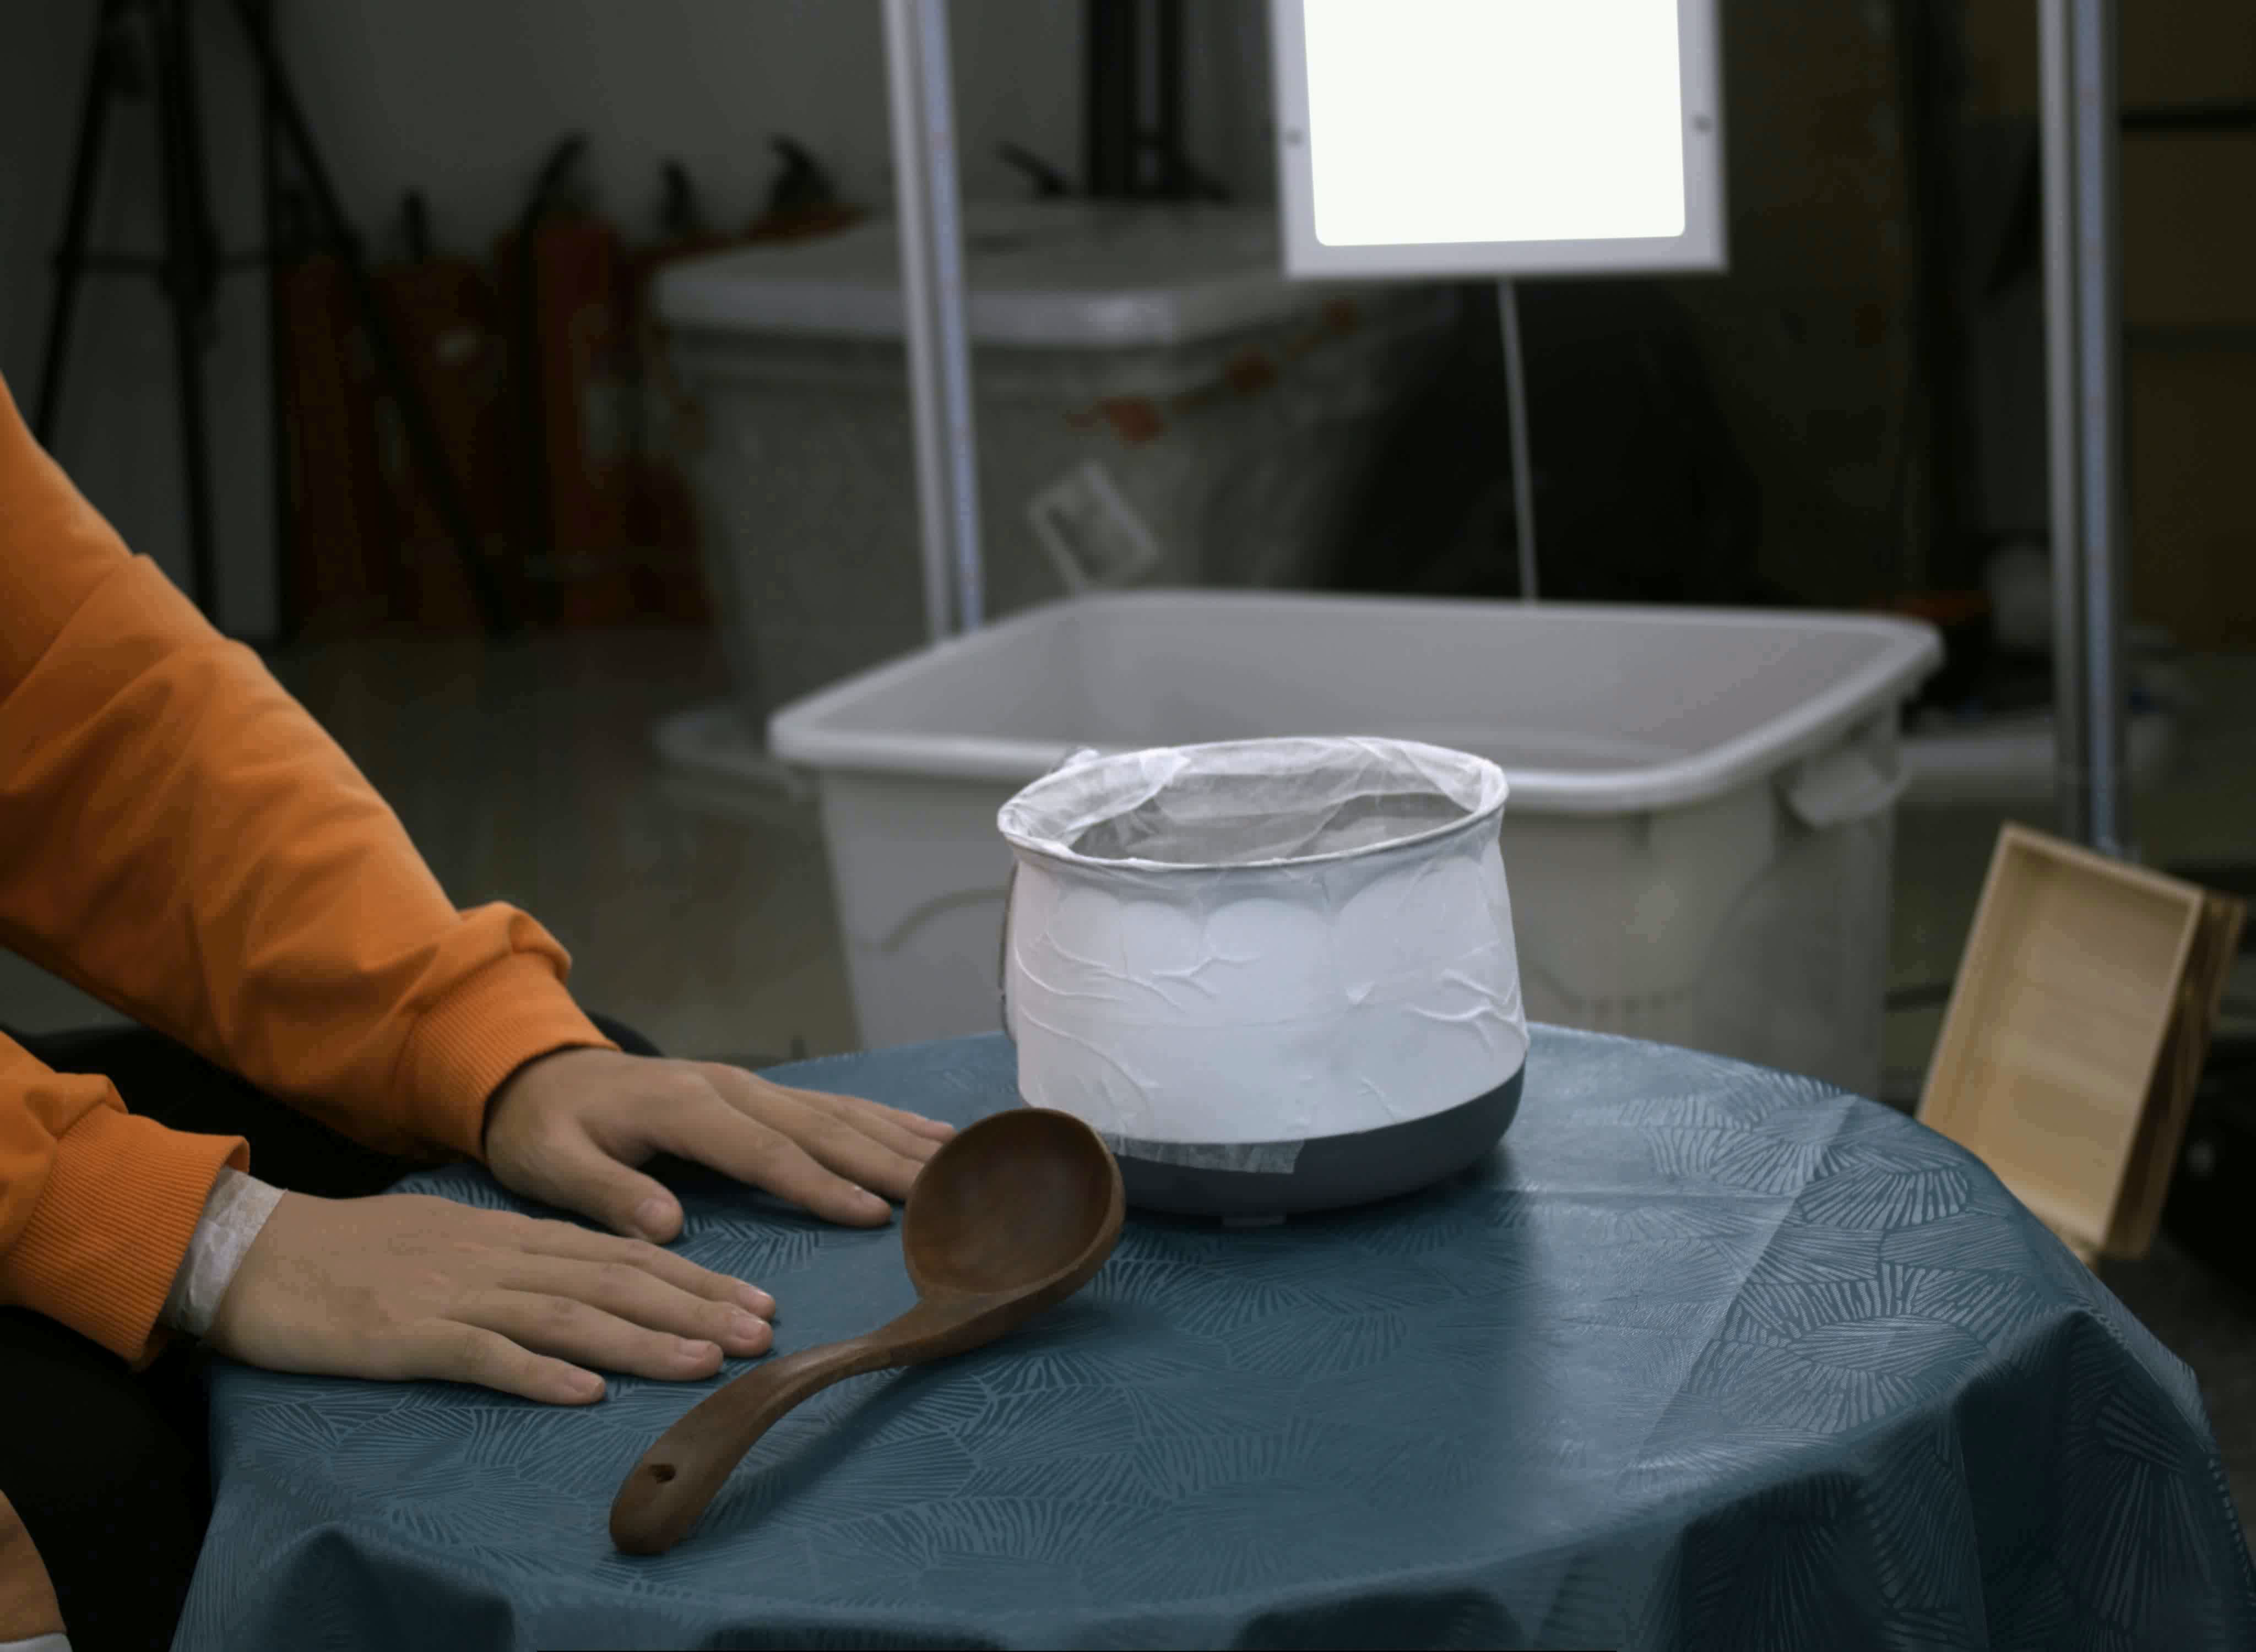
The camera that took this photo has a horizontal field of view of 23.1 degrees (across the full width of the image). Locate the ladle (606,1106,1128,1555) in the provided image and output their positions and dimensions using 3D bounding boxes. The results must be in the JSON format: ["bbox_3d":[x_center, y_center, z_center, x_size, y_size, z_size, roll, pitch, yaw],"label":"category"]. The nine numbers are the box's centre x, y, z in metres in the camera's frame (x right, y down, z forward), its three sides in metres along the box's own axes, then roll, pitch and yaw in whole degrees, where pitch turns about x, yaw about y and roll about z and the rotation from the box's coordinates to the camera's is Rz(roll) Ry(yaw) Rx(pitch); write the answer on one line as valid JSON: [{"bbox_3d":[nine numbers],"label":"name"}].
[{"bbox_3d":[-0.084,0.151,1.696,0.078,0.065,0.254,1,14,32],"label":"ladle"}]

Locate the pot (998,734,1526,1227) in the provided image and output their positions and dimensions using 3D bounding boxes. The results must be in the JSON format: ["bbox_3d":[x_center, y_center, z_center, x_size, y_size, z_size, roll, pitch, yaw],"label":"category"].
[{"bbox_3d":[0.031,0.047,1.918,0.174,0.137,0.238,-14,17,-35],"label":"pot"}]
